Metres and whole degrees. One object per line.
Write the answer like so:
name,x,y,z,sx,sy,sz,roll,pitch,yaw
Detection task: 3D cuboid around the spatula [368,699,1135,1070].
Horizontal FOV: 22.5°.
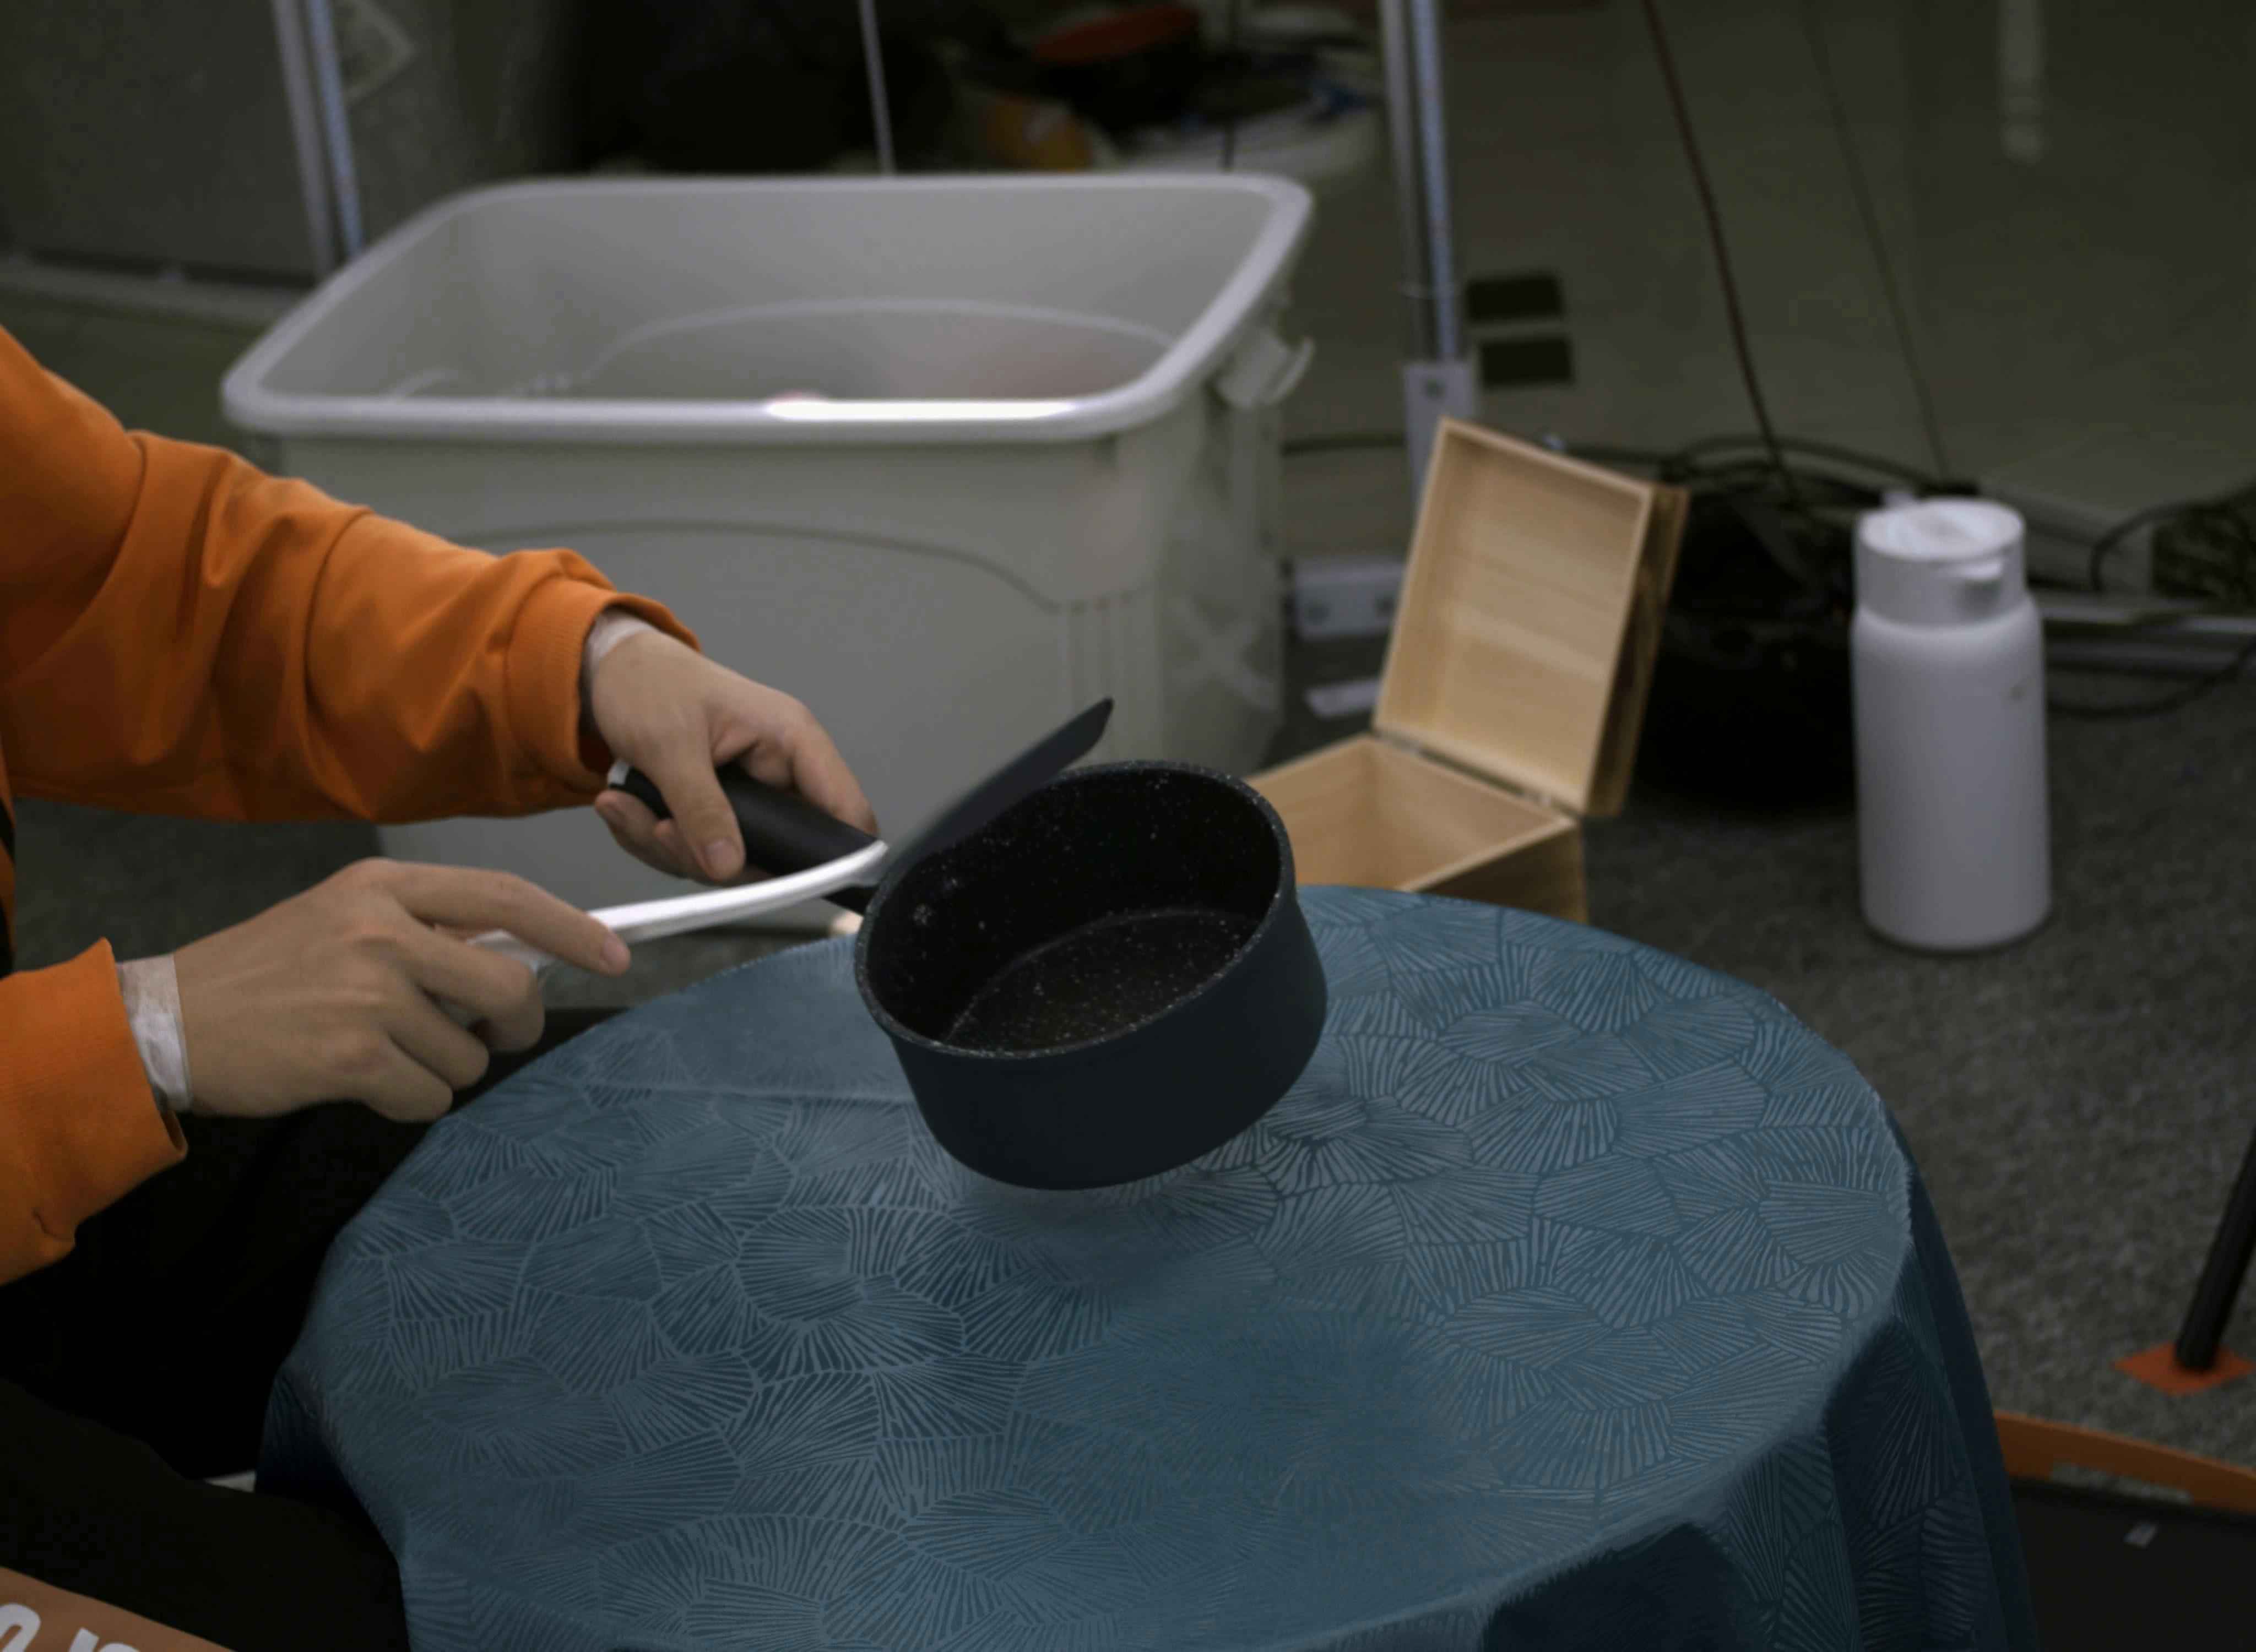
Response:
spatula,-0.127,0.020,1.995,0.287,0.059,0.032,-21,73,-7

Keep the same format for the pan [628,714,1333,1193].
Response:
pan,-0.067,0.036,2.191,0.326,0.088,0.170,20,52,40
